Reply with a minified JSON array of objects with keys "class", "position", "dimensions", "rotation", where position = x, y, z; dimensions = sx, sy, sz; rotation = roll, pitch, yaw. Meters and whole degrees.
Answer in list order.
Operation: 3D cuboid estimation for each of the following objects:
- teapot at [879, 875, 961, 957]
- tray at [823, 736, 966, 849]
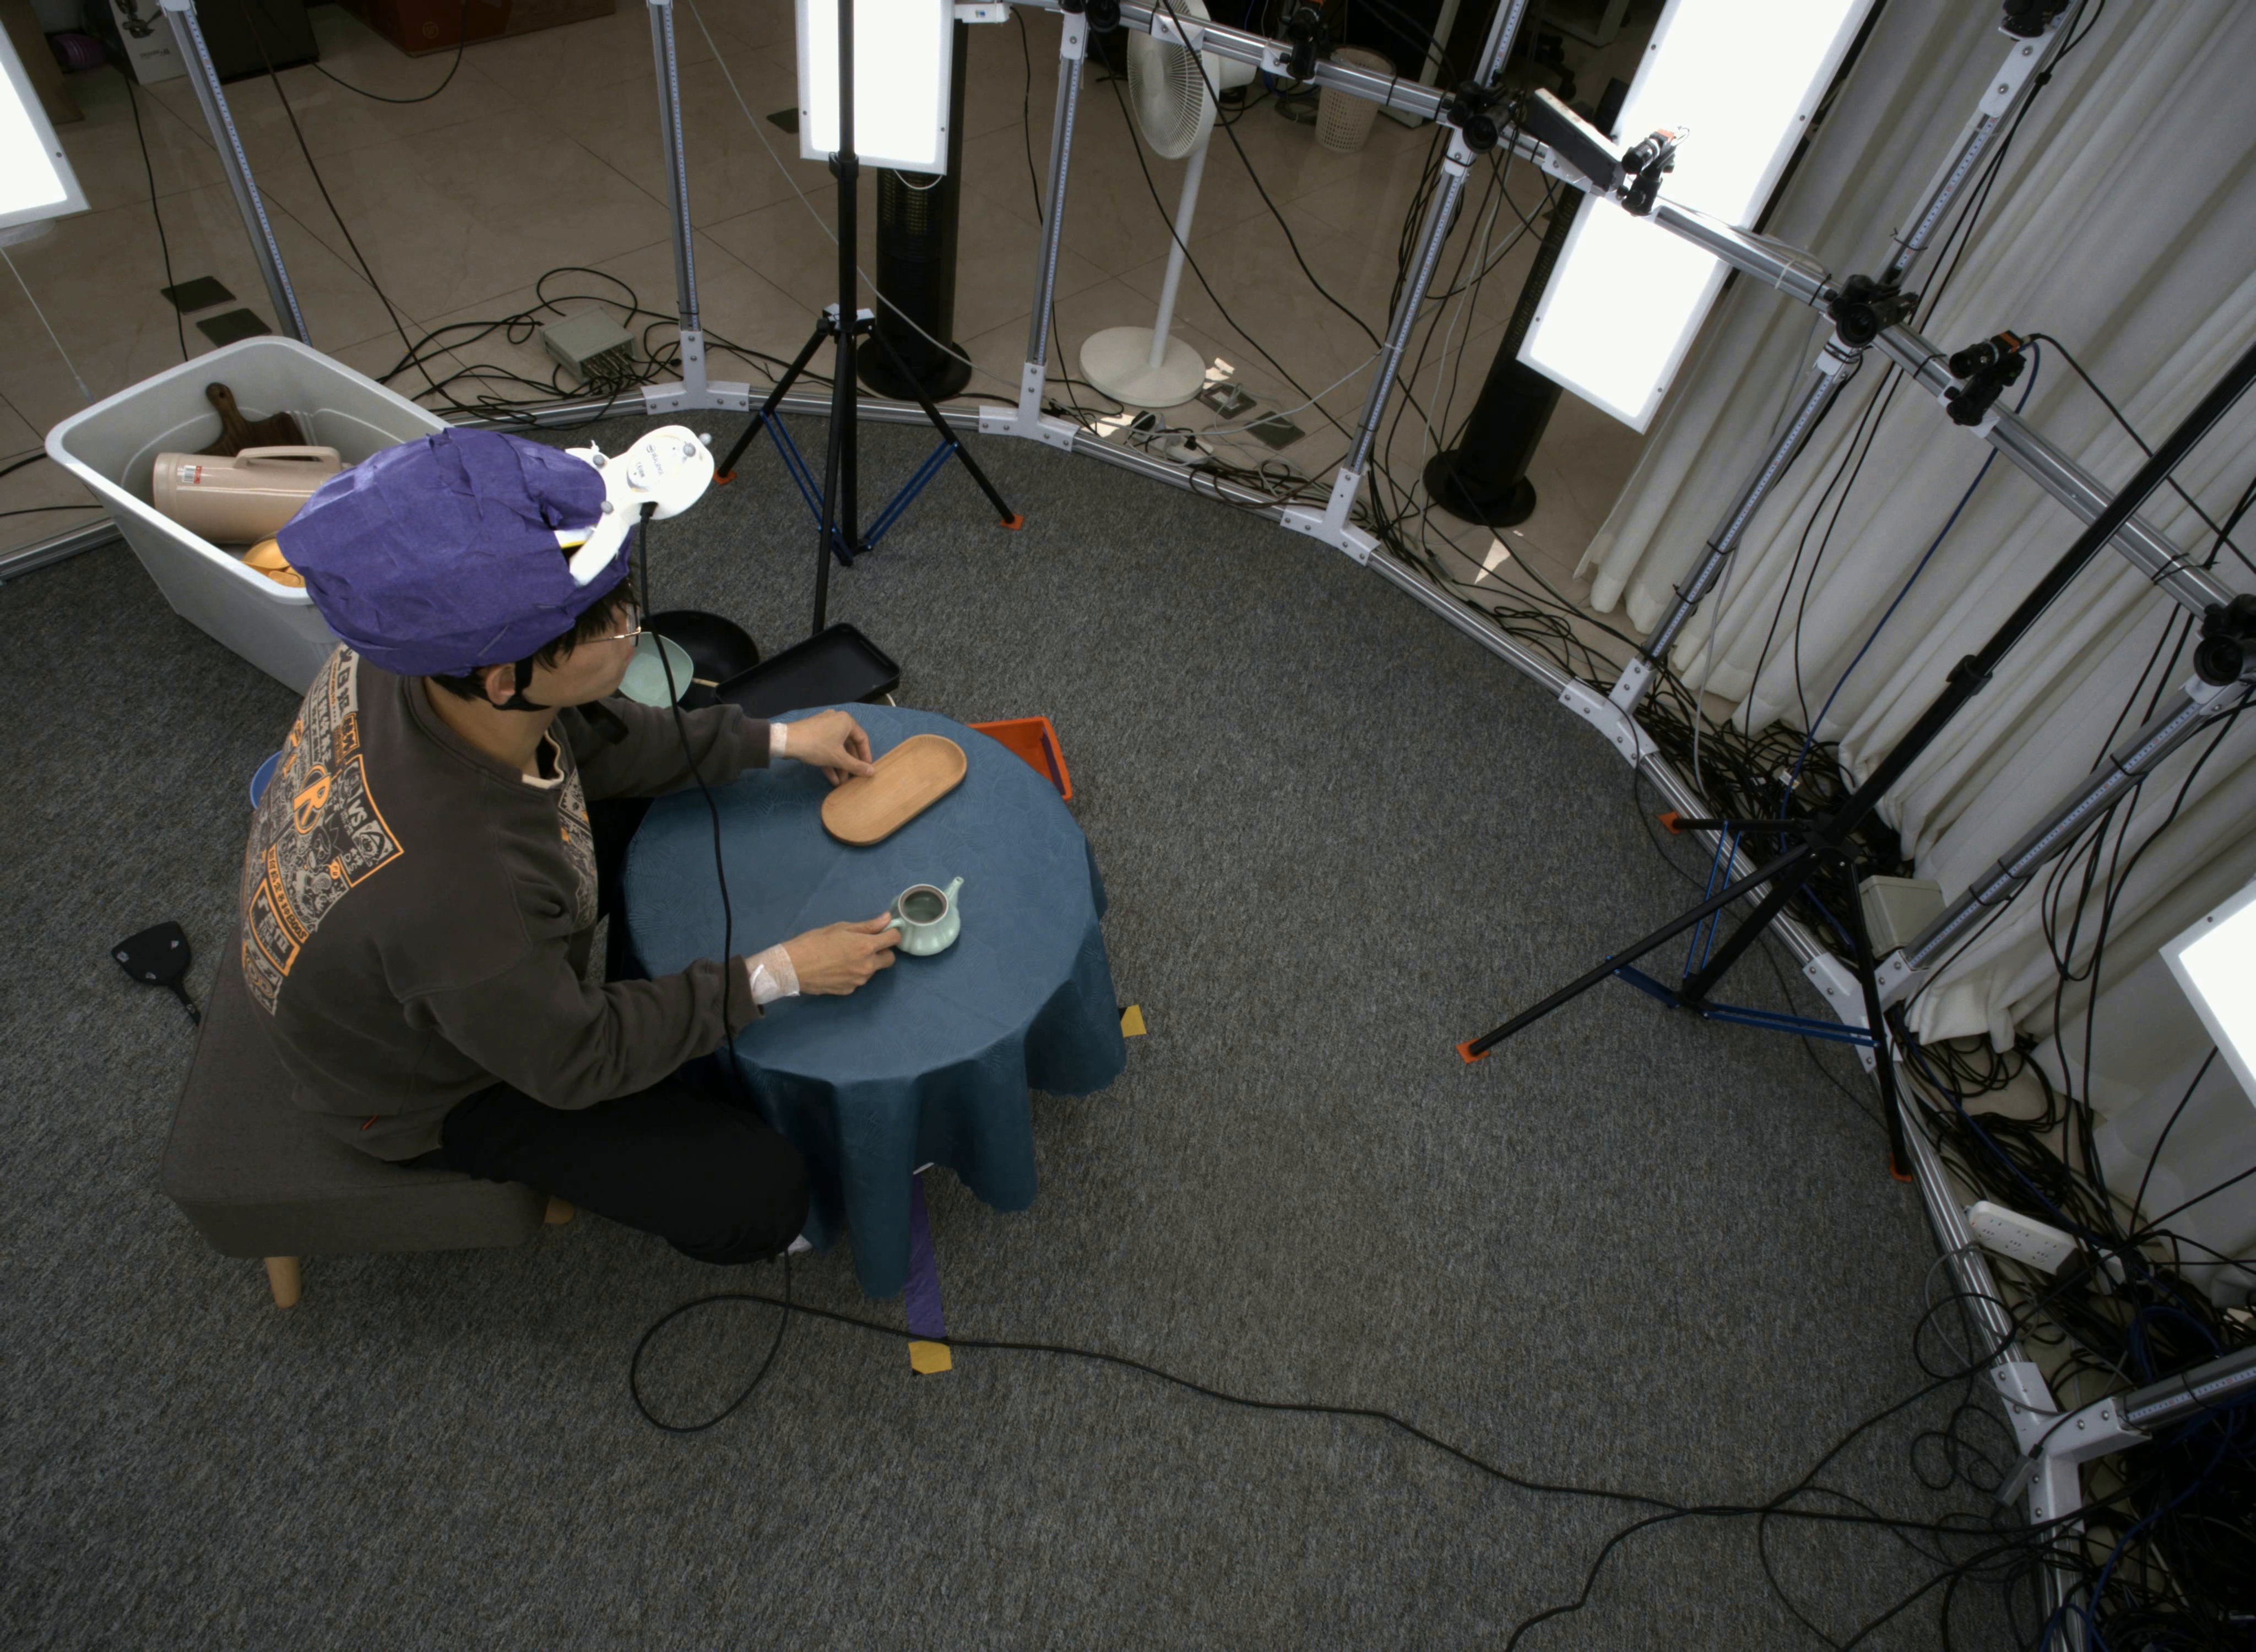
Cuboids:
[{"class":"teapot","position":[-0.264,0.116,1.654],"dimensions":[0.094,0.062,0.137],"rotation":[41,55,16]},{"class":"tray","position":[-0.319,-0.048,1.789],"dimensions":[0.099,0.021,0.231],"rotation":[38,56,16]}]
